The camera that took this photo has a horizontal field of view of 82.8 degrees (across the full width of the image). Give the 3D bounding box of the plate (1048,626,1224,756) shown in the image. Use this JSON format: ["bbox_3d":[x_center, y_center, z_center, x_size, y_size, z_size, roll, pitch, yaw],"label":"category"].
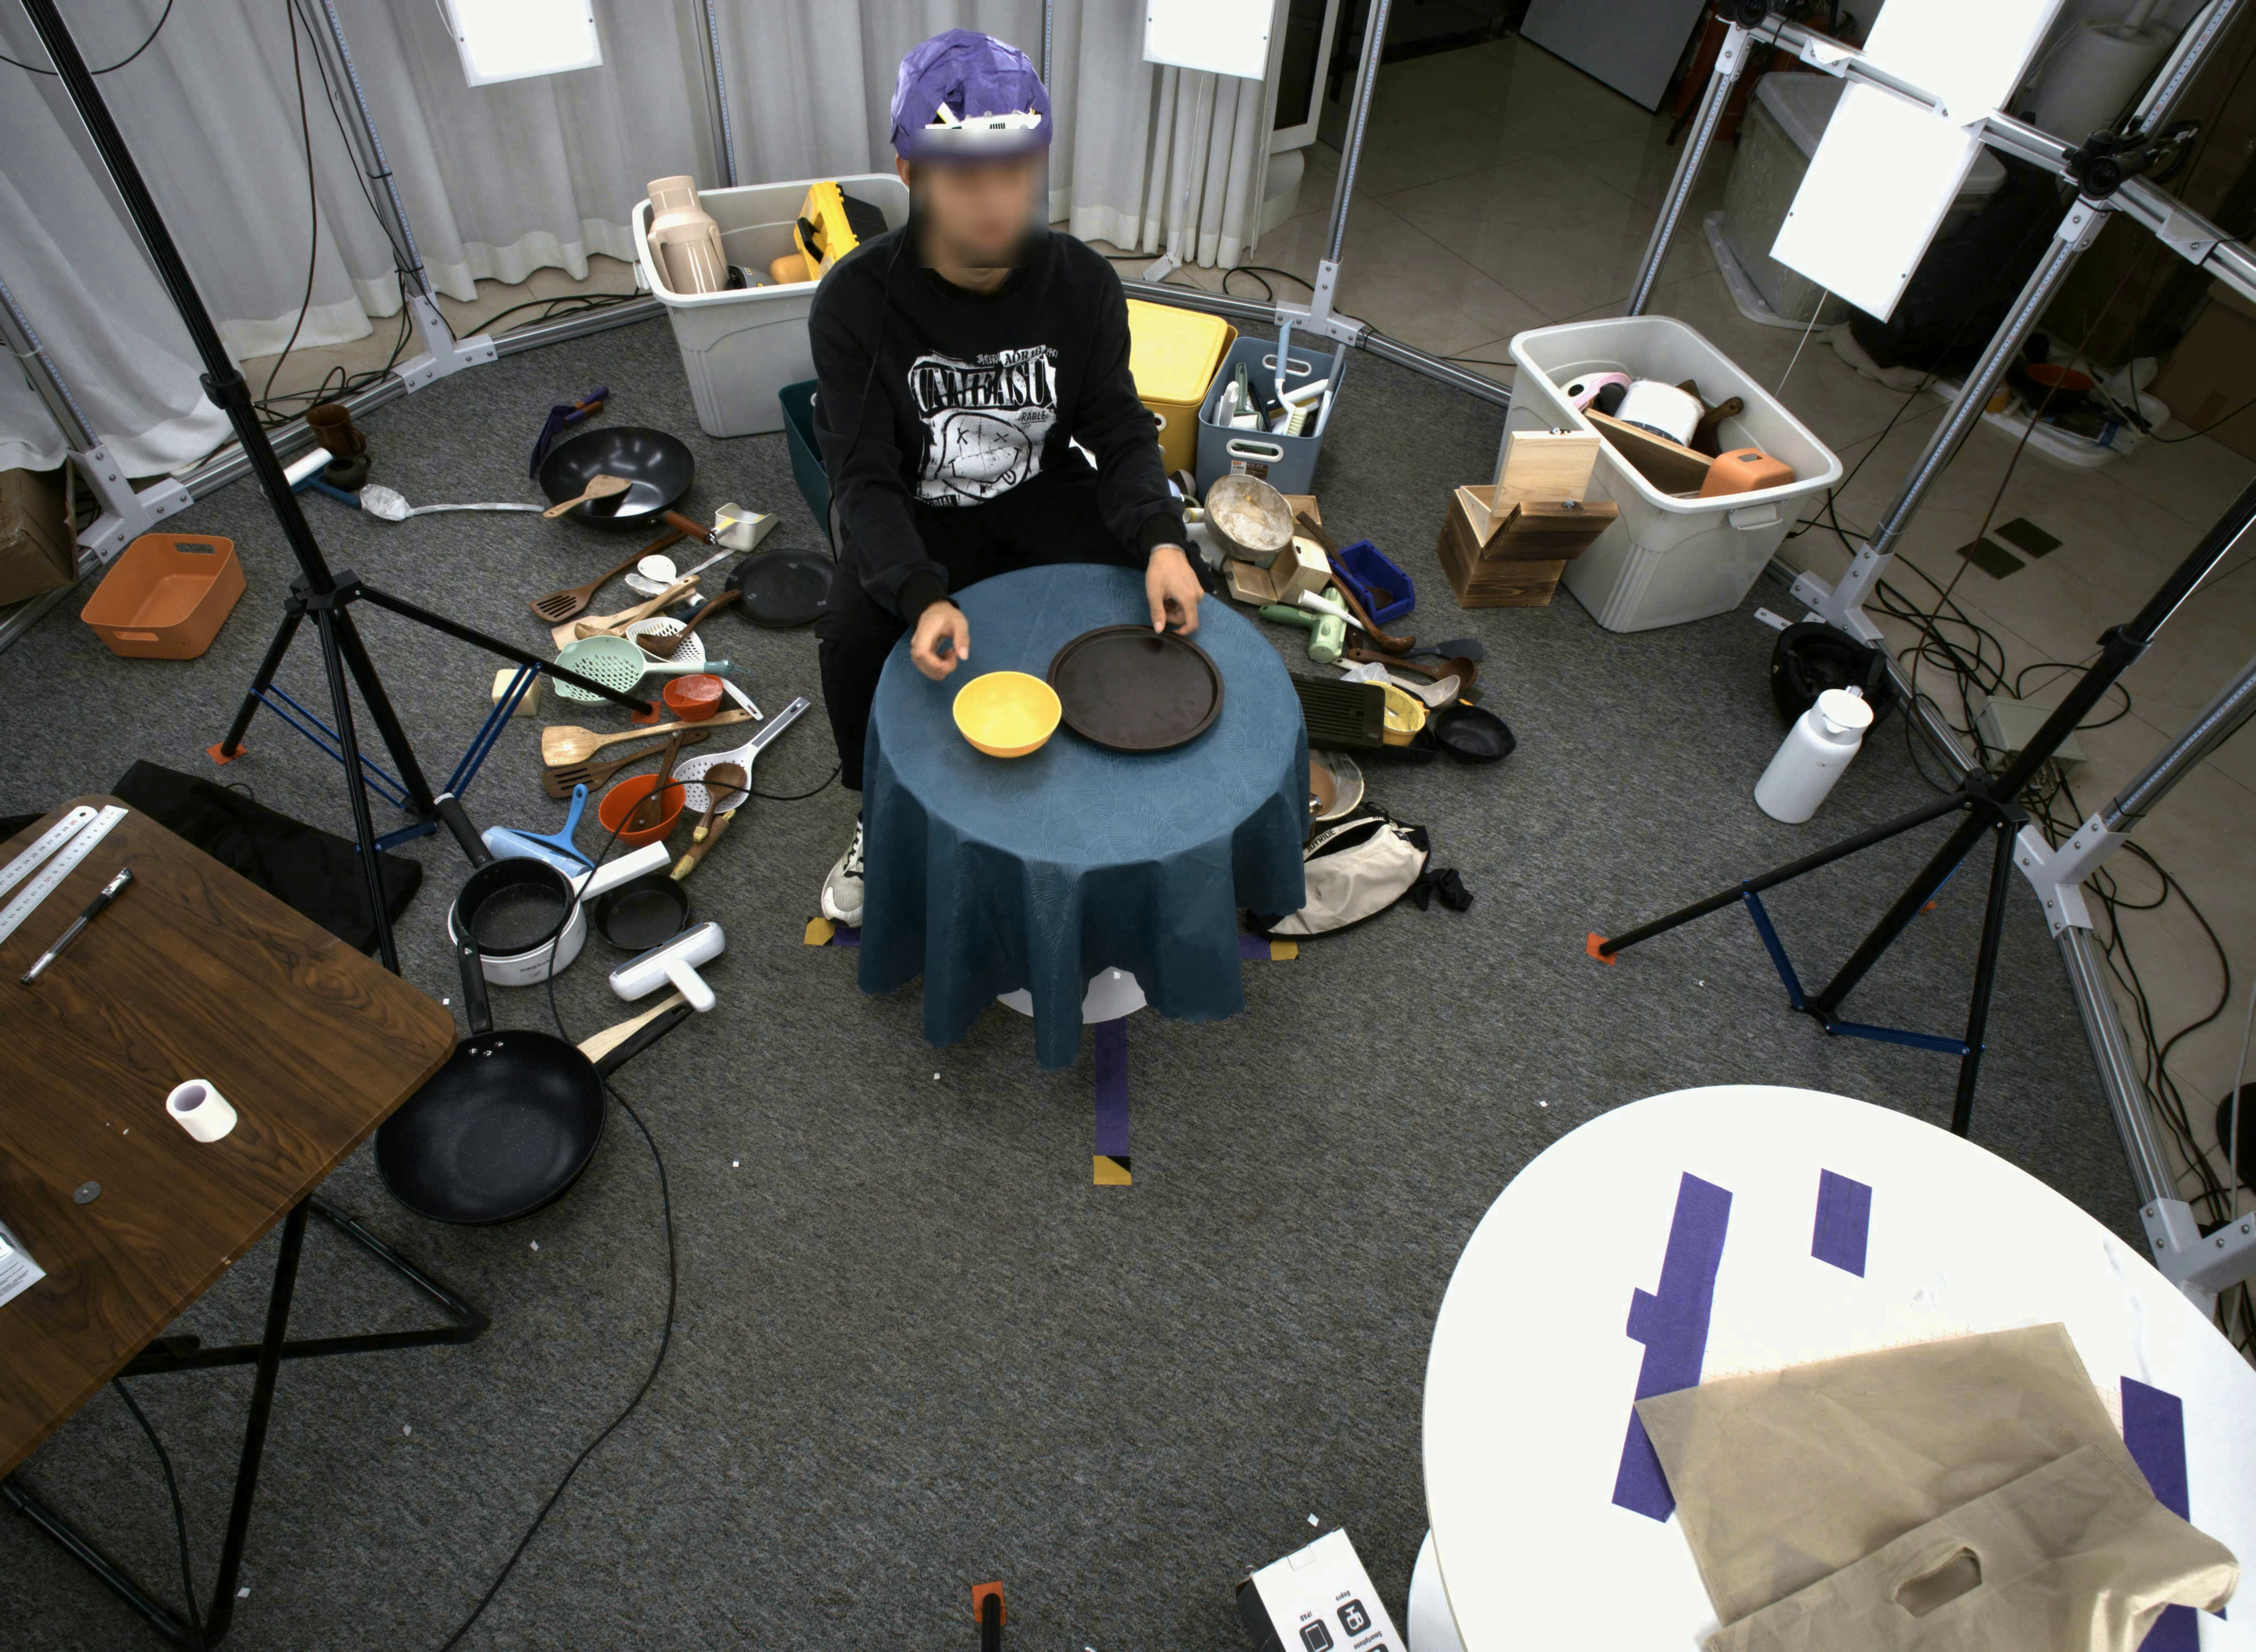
[{"bbox_3d":[0.012,-0.195,1.841,0.254,0.028,0.261,1,49,-1],"label":"plate"}]

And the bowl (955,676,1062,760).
[{"bbox_3d":[-0.164,-0.136,1.756,0.145,0.058,0.149,2,46,-3],"label":"bowl"}]
